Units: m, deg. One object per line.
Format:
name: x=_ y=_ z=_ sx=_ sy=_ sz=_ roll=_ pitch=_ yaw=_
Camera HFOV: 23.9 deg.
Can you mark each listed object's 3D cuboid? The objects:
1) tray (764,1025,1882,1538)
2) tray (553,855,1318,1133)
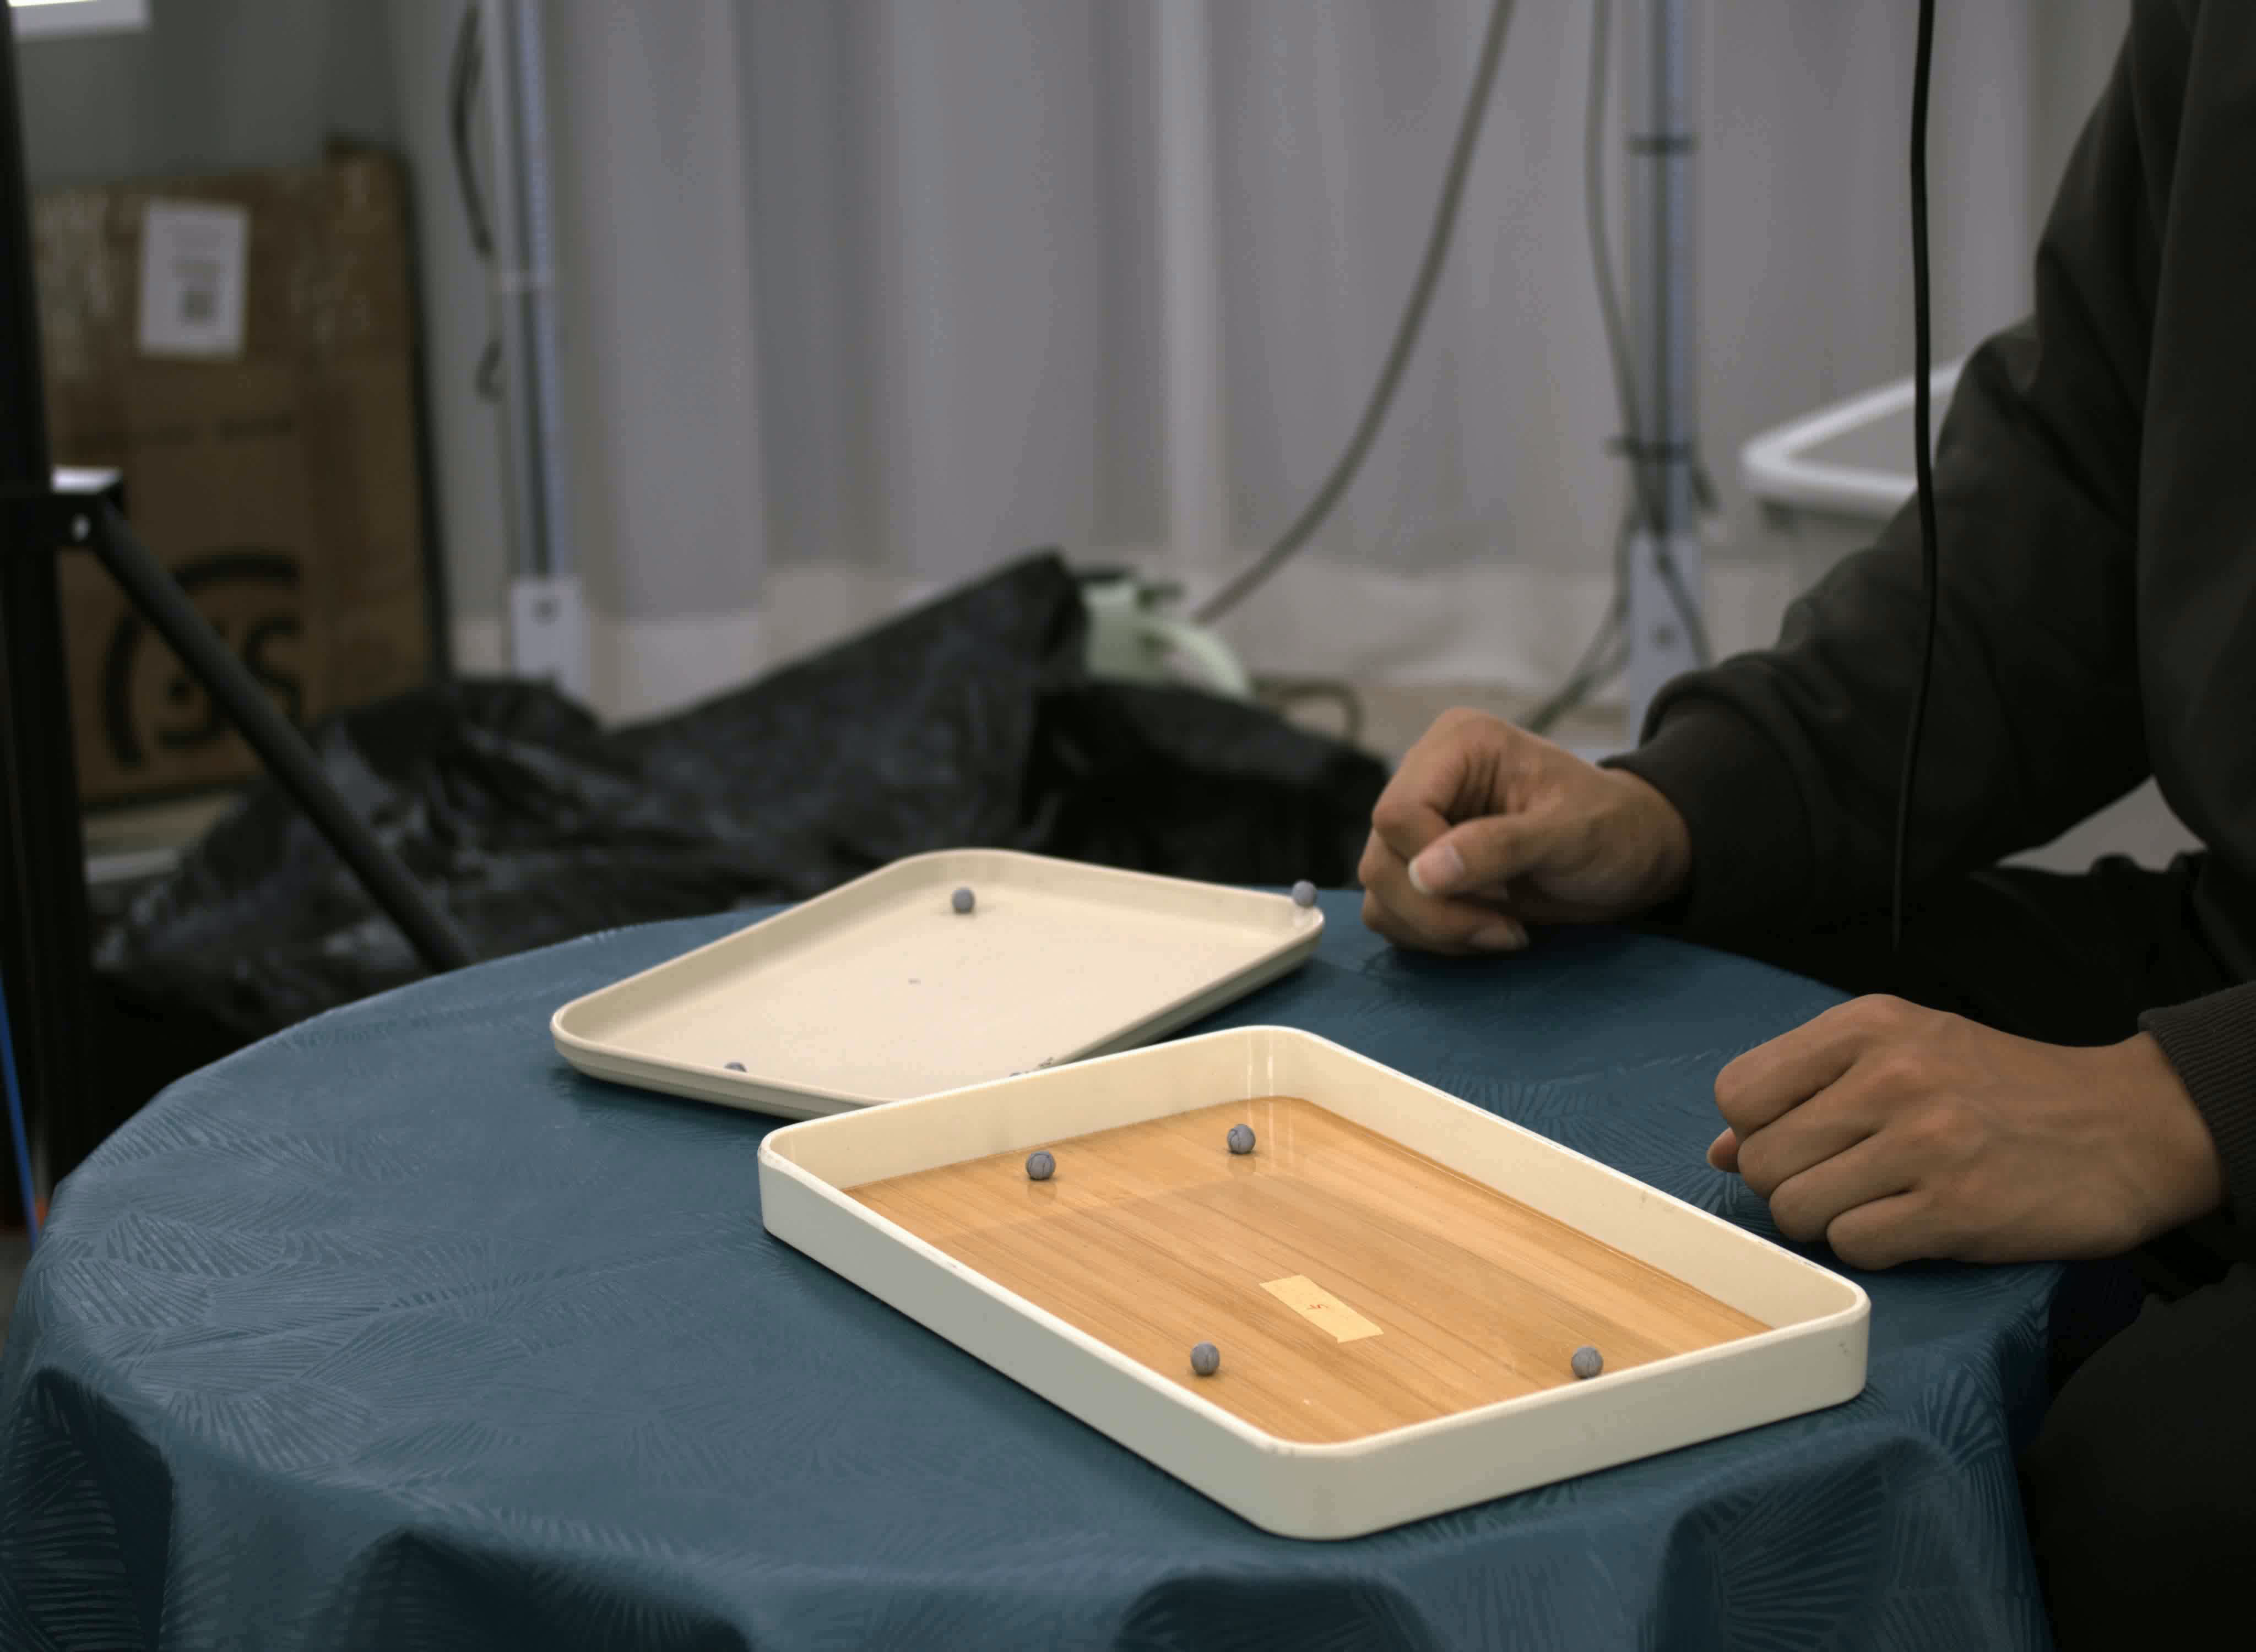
tray: x=0.047 y=0.120 z=1.464 sx=0.187 sy=0.027 sz=0.307 roll=-11 pitch=18 yaw=-29
tray: x=-0.059 y=0.054 z=1.728 sx=0.174 sy=0.017 sz=0.235 roll=8 pitch=19 yaw=34
